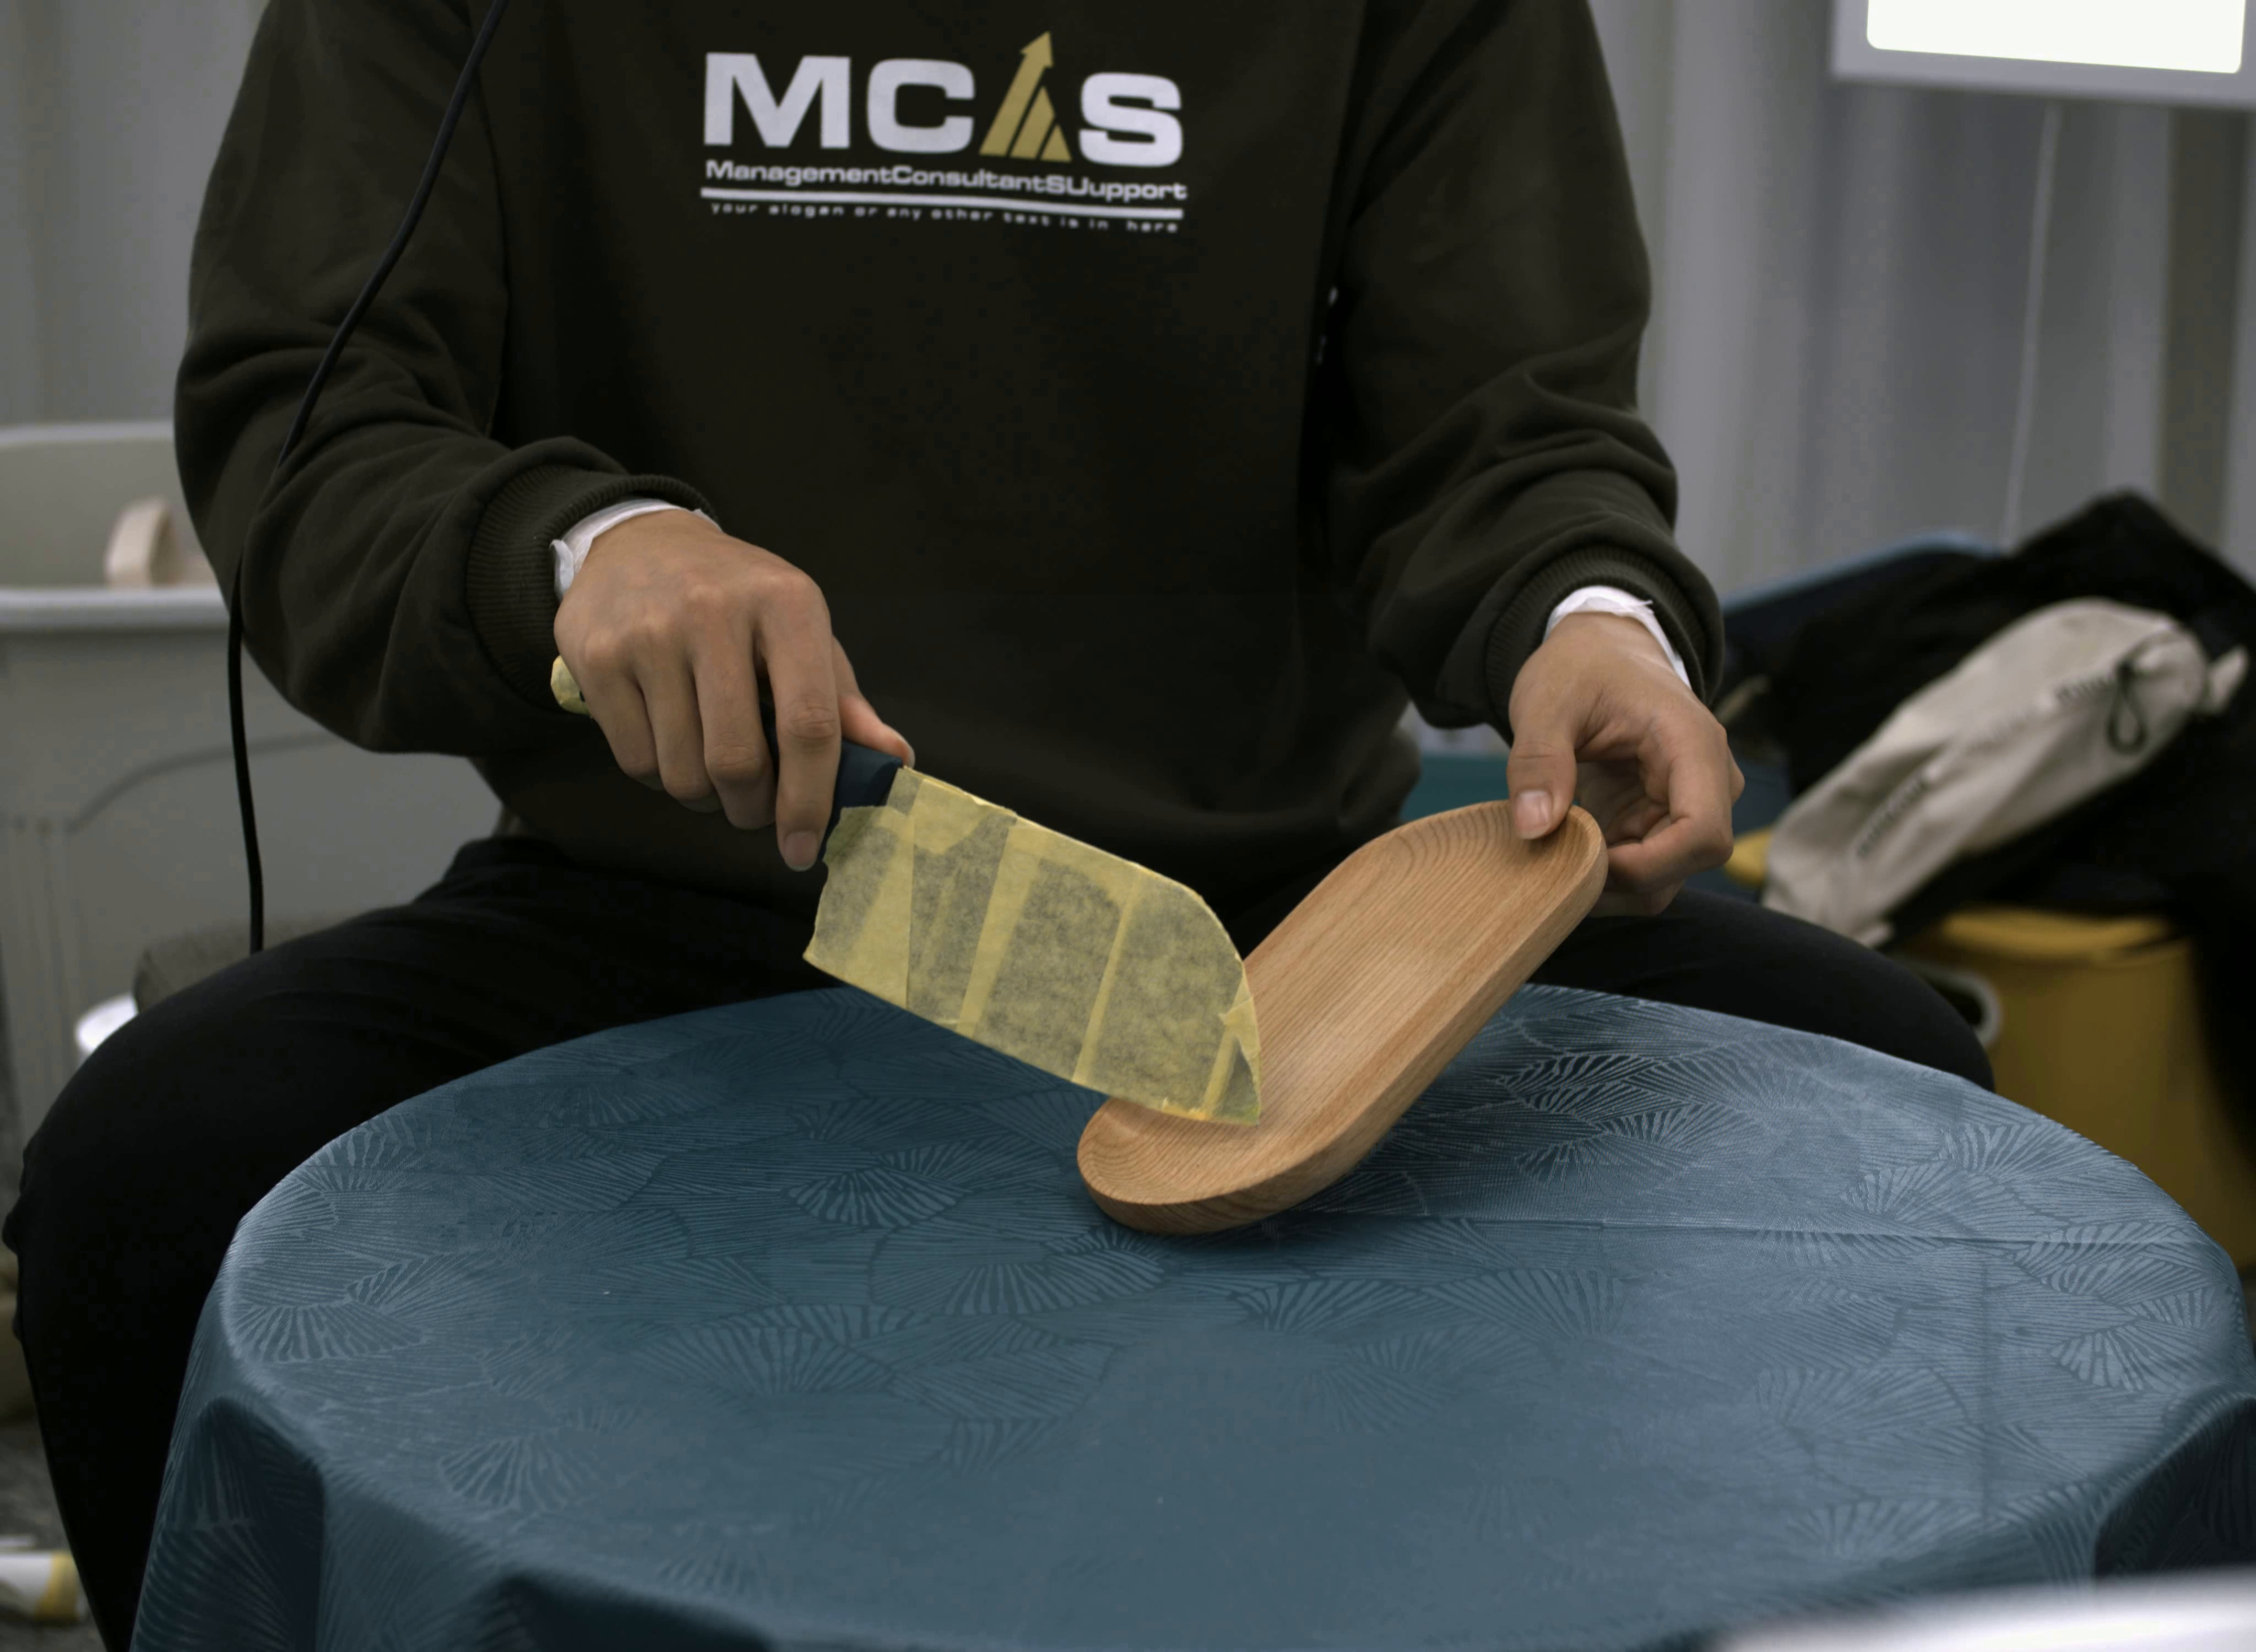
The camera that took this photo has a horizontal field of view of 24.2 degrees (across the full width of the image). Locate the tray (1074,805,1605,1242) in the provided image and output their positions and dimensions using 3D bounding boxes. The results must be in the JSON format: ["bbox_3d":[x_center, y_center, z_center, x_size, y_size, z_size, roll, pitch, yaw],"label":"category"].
[{"bbox_3d":[0.069,0.060,1.649,0.100,0.020,0.231,0,33,40],"label":"tray"}]

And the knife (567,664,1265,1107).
[{"bbox_3d":[-0.071,0.016,1.666,0.286,0.081,0.027,26,12,29],"label":"knife"}]
